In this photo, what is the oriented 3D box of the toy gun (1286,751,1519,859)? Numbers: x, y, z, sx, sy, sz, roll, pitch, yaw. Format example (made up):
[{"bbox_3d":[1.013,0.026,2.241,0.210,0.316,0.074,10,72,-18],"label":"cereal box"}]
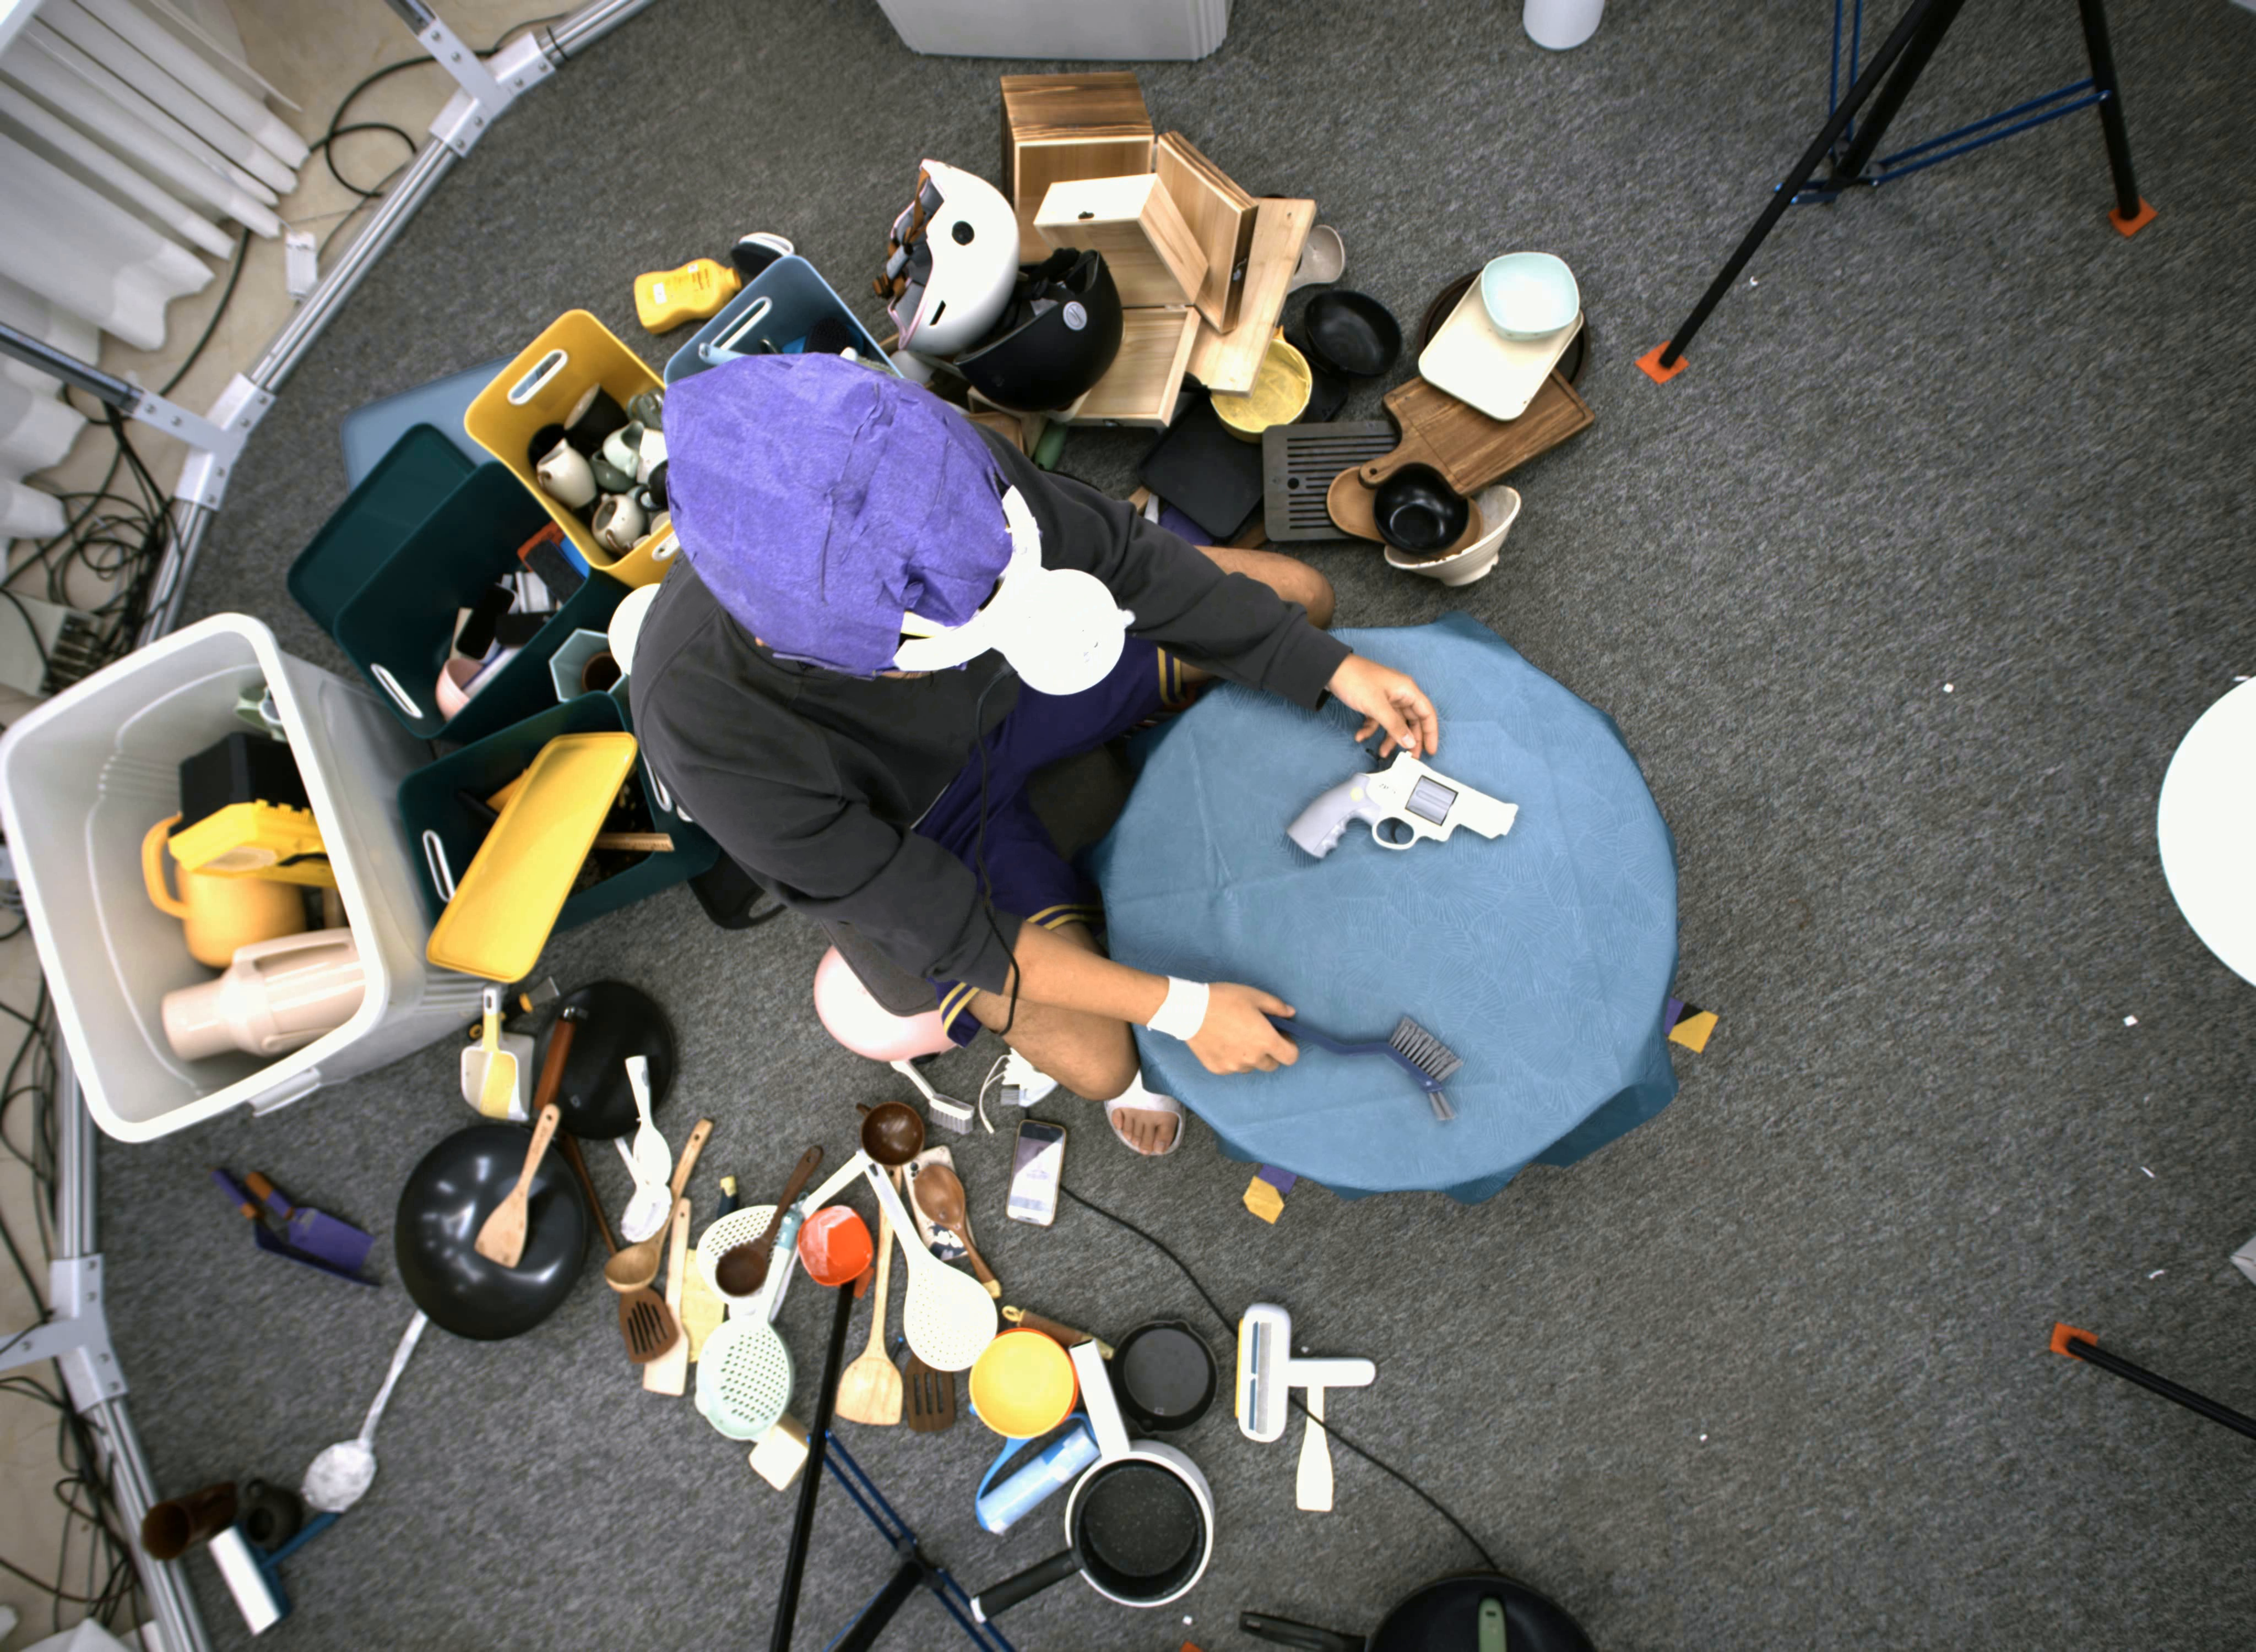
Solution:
[{"bbox_3d":[0.286,-0.005,1.442,0.209,0.039,0.142,26,93,11],"label":"toy gun"}]

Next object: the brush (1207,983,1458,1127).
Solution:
[{"bbox_3d":[0.207,0.230,1.446,0.273,0.033,0.095,15,90,10],"label":"brush"}]
